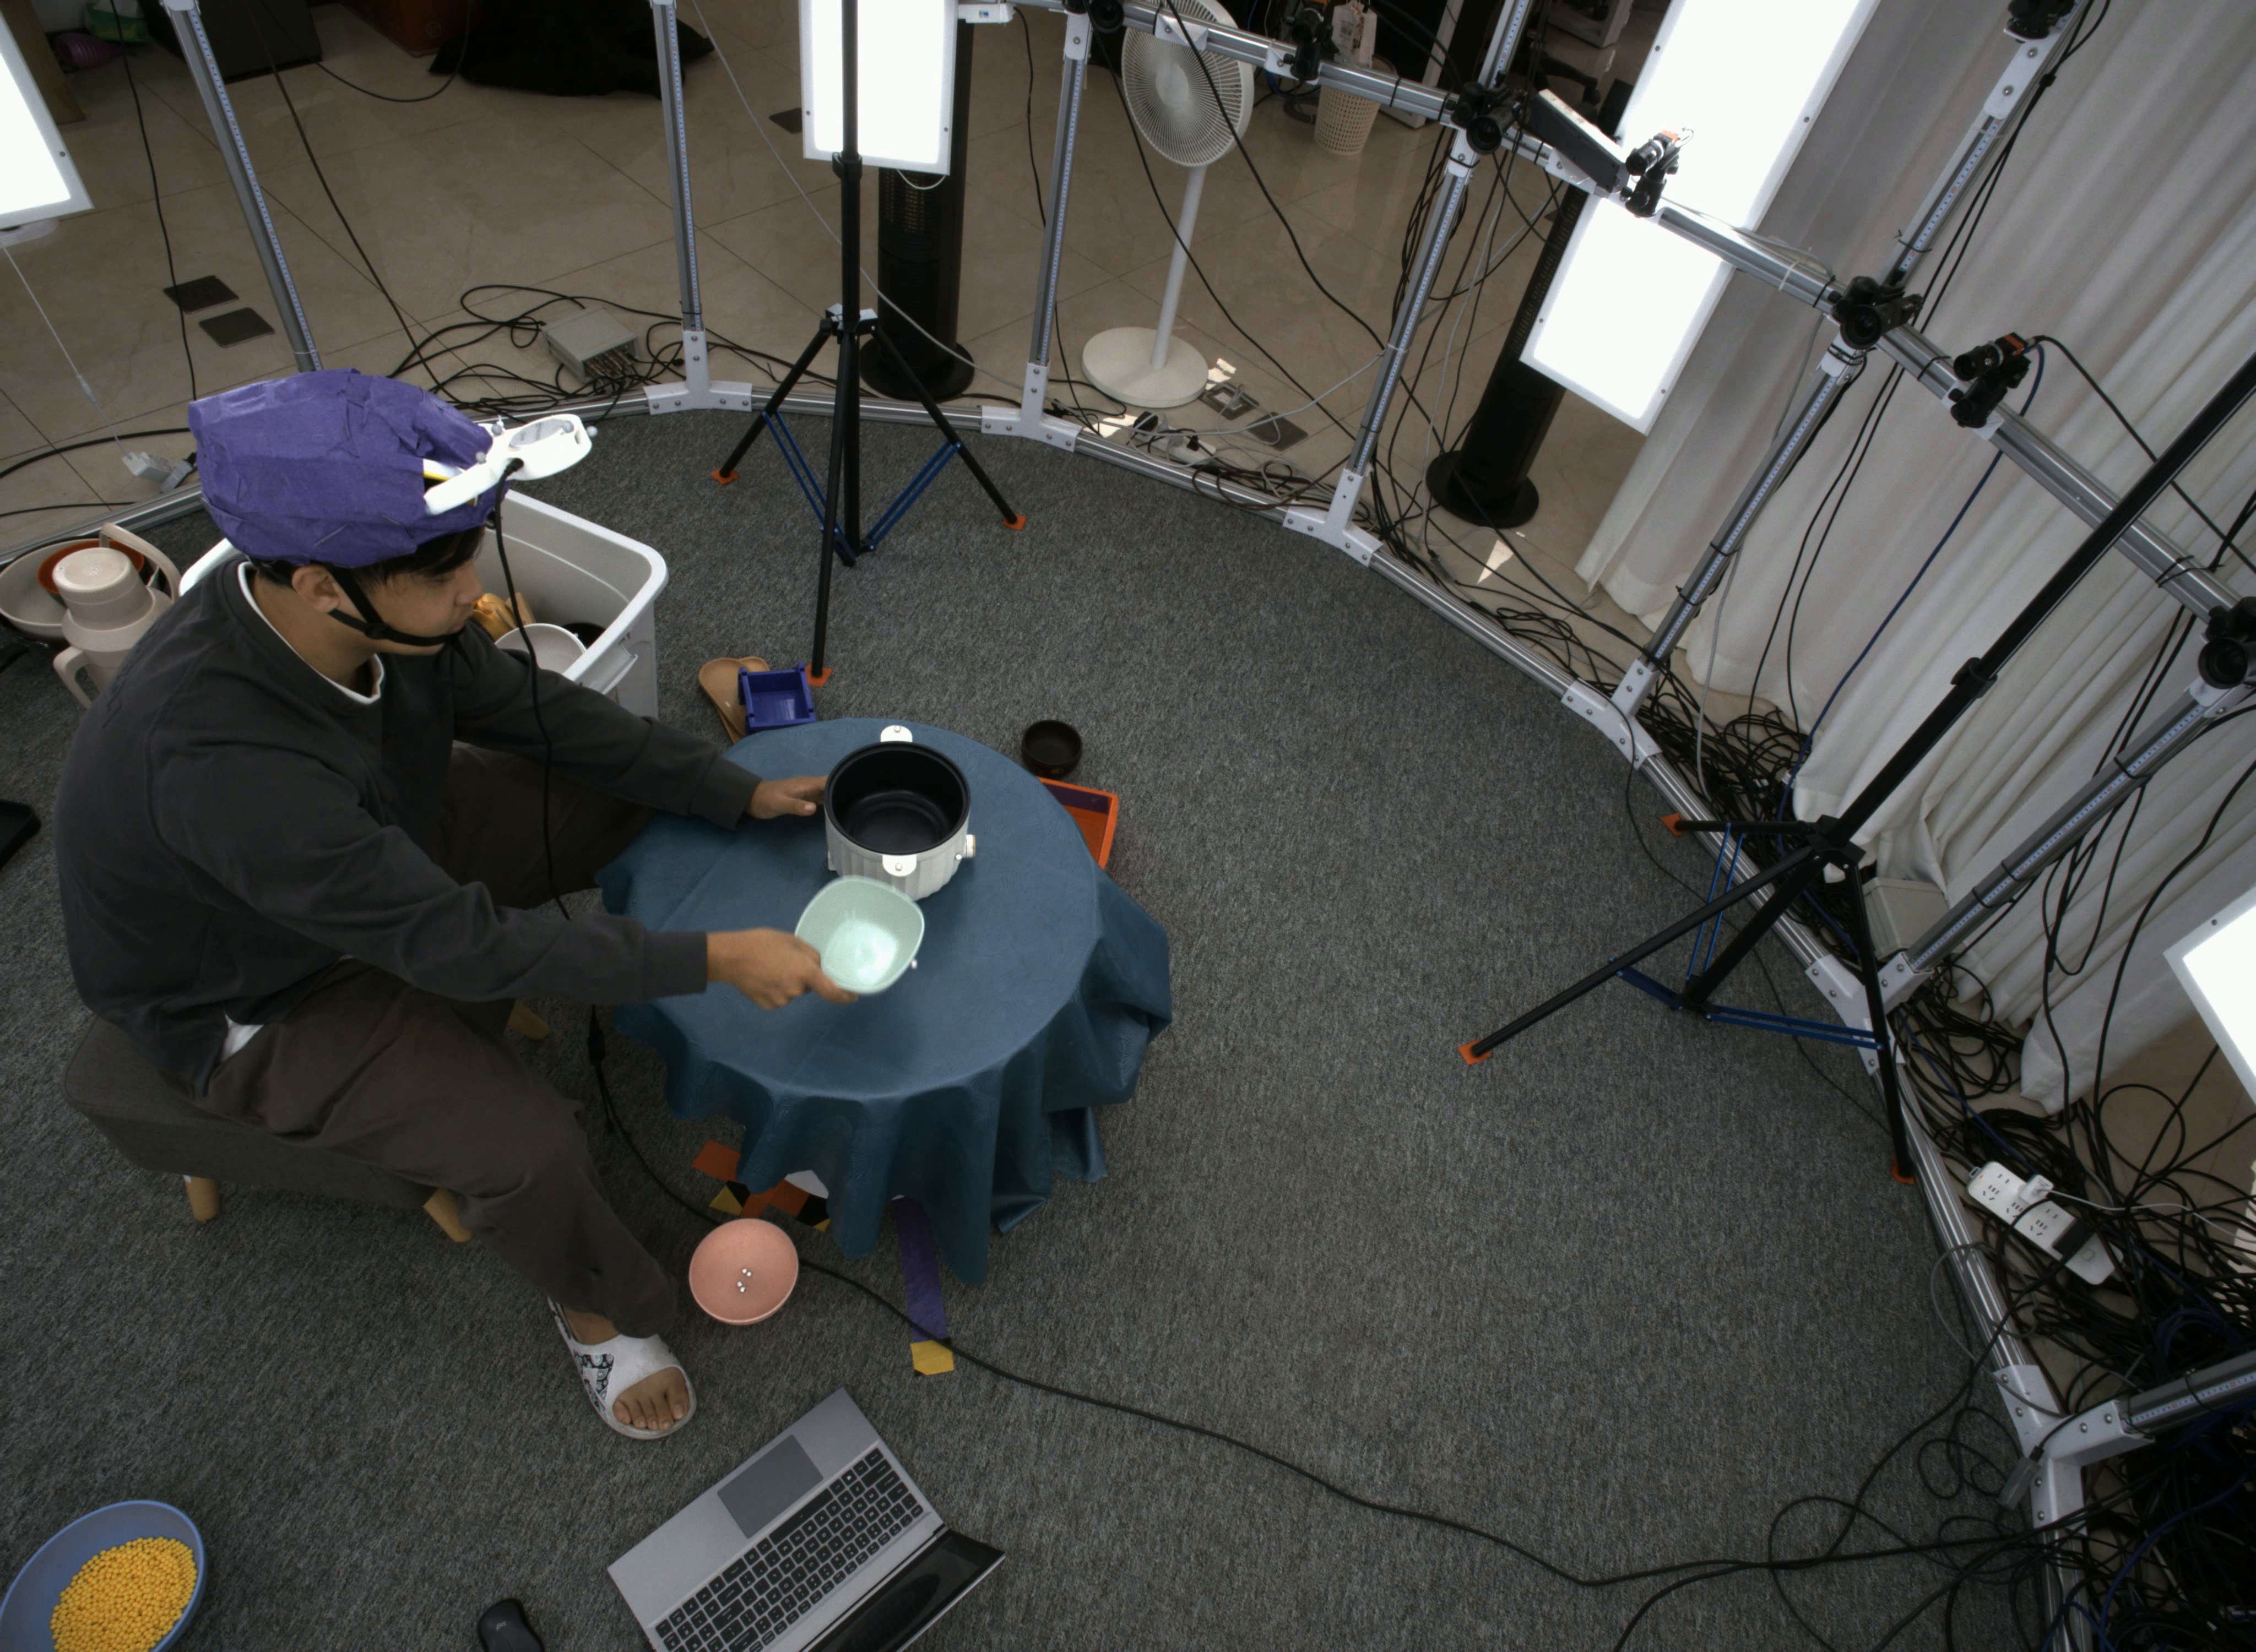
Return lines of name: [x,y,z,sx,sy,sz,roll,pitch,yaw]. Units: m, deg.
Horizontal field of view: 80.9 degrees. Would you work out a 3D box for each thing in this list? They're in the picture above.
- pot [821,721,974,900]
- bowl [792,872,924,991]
pot: [-0.292,-0.003,1.664,0.190,0.146,0.235,-3,56,-11]
bowl: [-0.310,0.130,1.502,0.151,0.060,0.149,6,57,-7]
